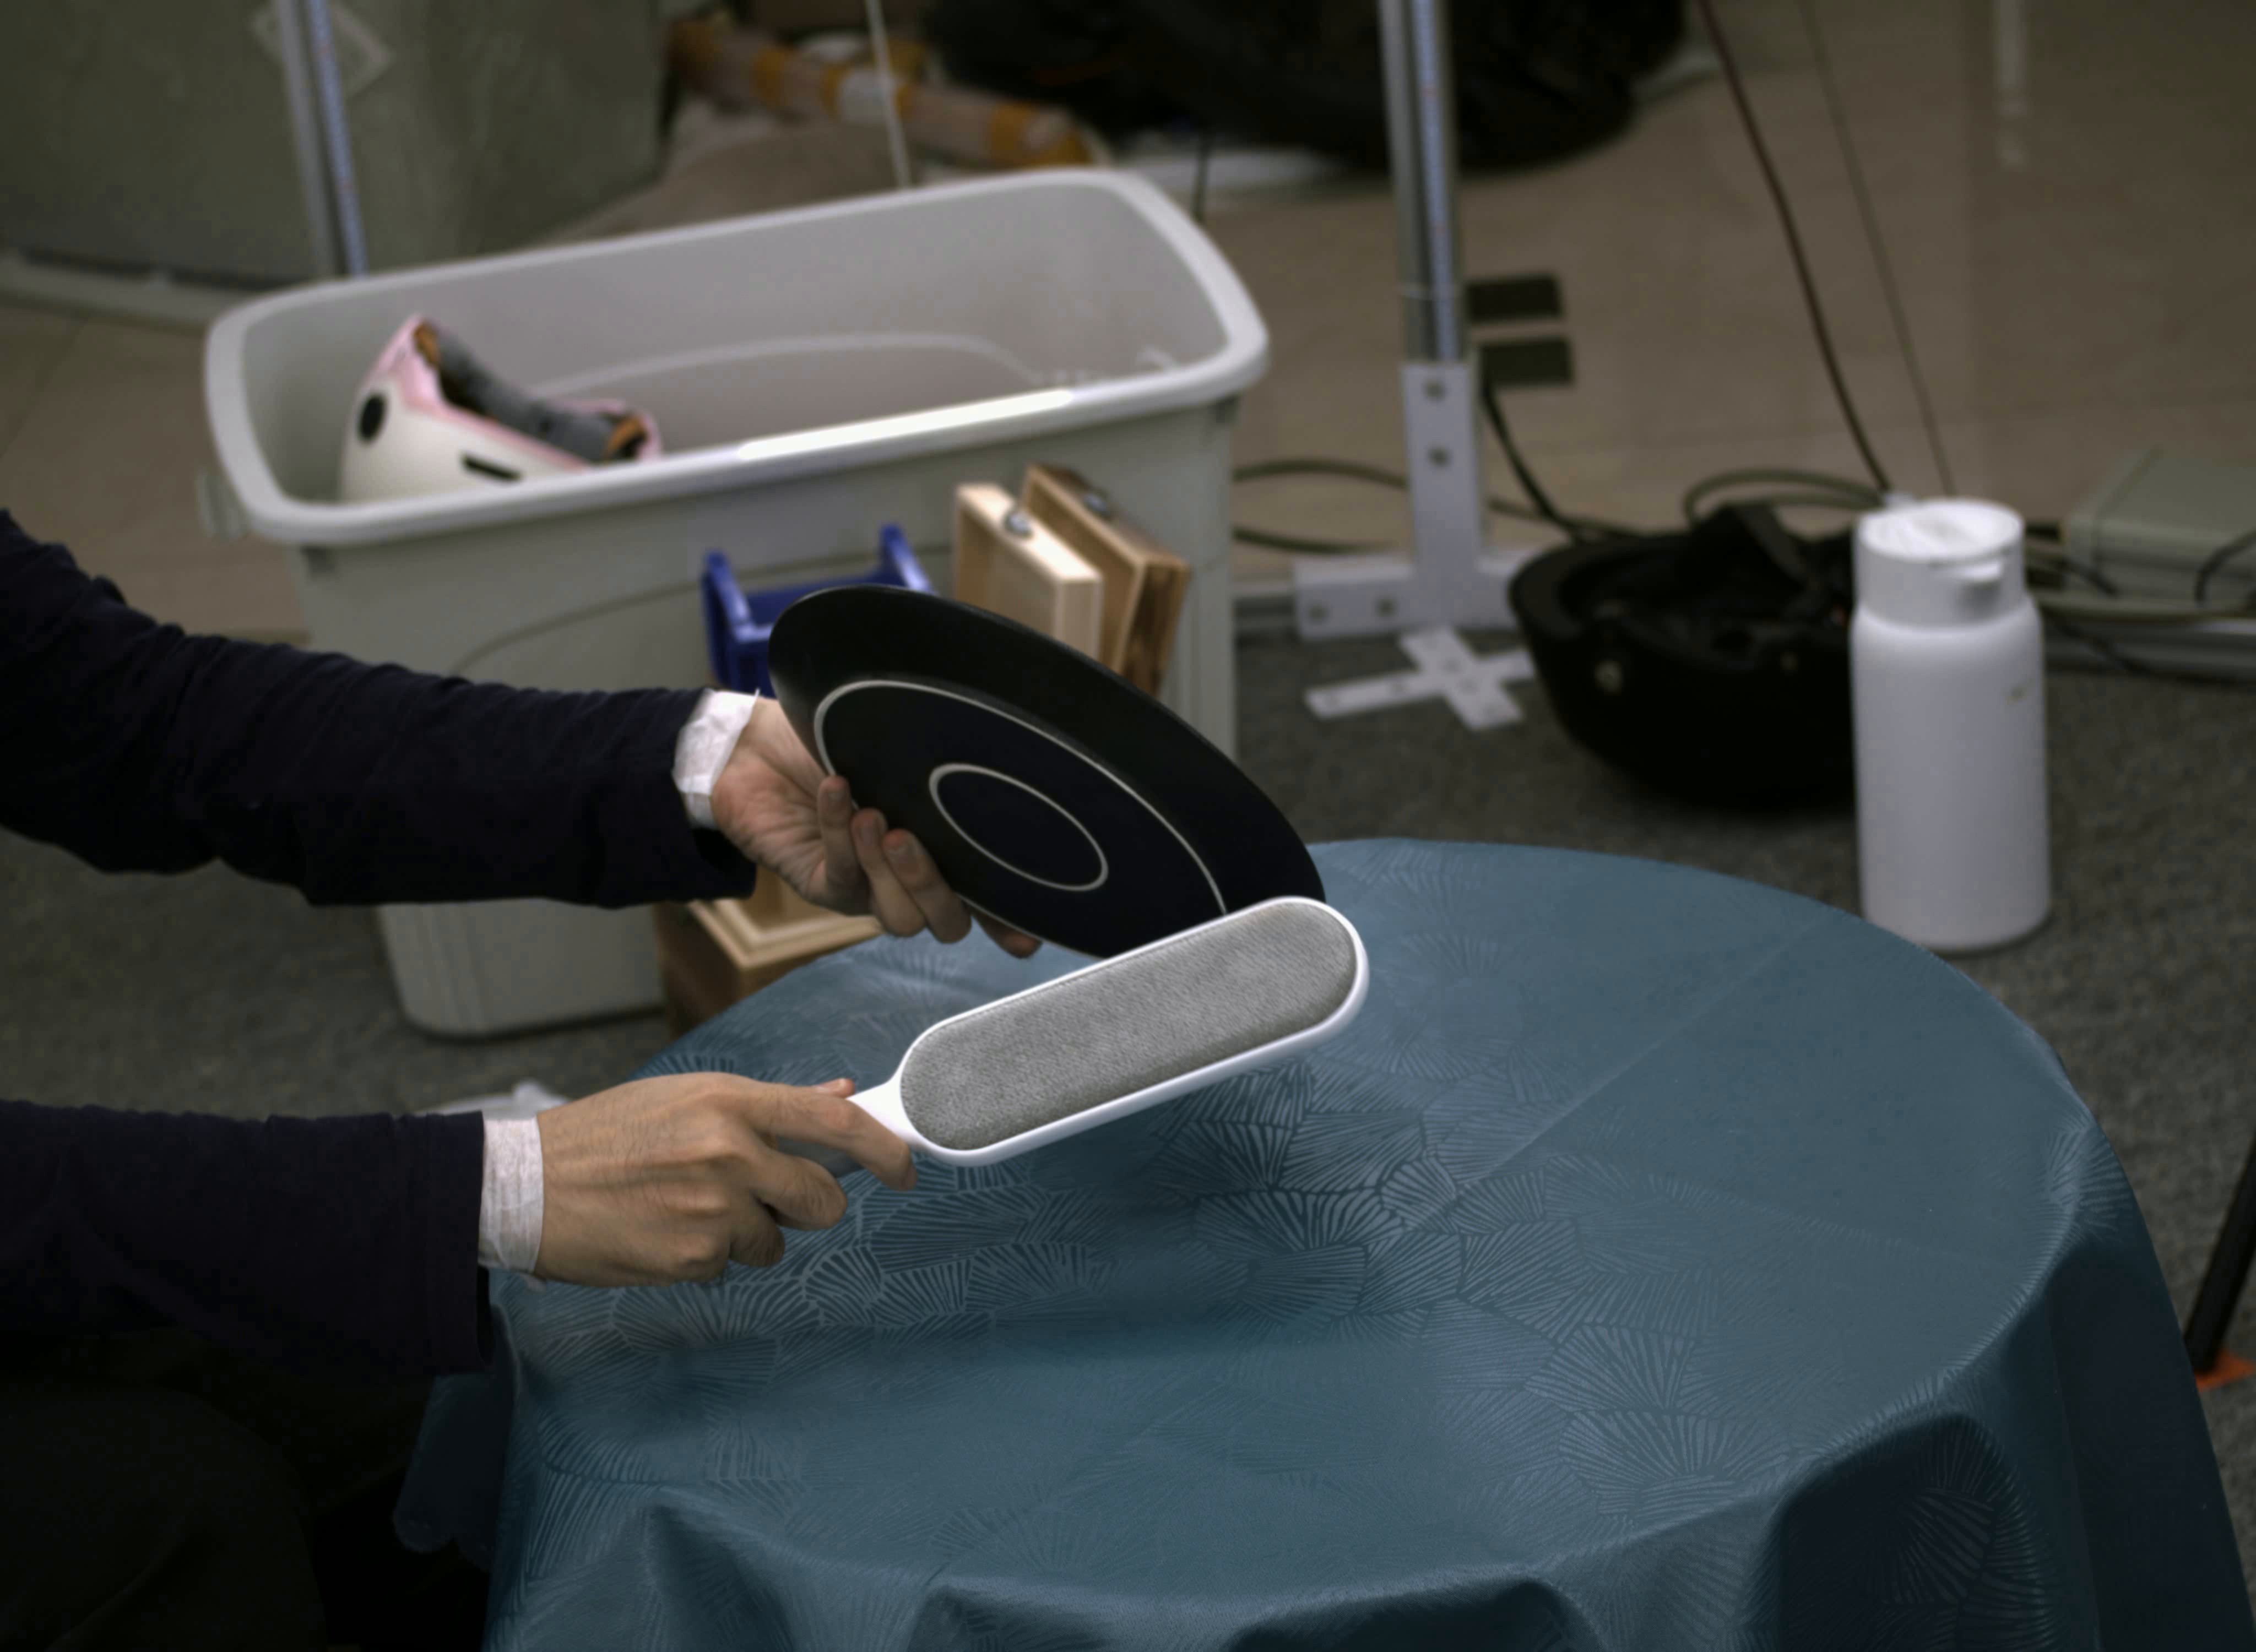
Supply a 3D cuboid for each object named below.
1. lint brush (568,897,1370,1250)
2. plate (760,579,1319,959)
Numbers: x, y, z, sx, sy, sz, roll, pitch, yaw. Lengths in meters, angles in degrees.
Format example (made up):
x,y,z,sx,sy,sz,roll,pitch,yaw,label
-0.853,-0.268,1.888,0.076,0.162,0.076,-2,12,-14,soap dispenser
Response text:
x,y,z,sx,sy,sz,roll,pitch,yaw,label
-0.059,0.094,2.063,0.308,0.059,0.021,-19,-17,3,lint brush
-0.039,-0.009,2.171,0.243,0.248,0.023,12,60,35,plate
